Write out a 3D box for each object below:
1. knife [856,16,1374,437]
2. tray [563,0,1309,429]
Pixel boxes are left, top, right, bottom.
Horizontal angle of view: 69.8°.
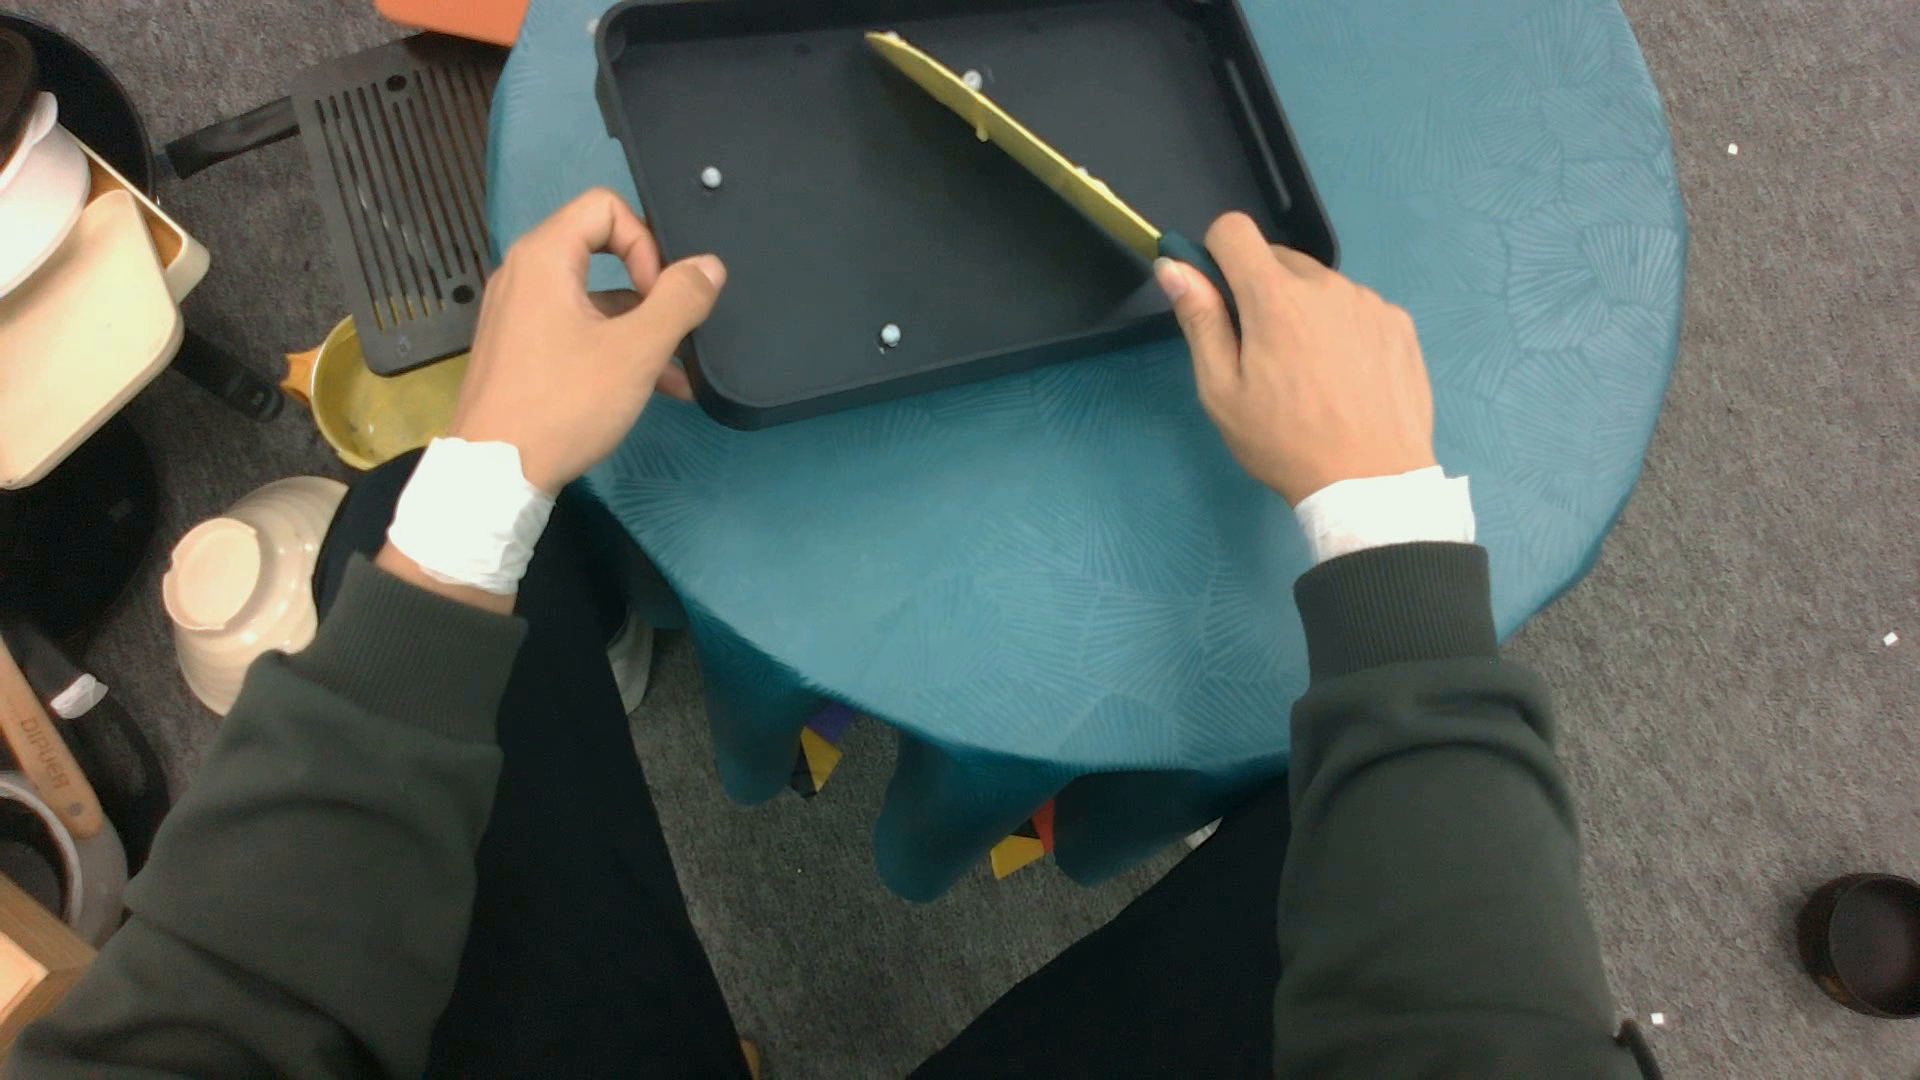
[{"bbox_3d":[0.067,-0.142,0.615,0.289,0.081,0.027,38,98,-2],"label":"knife"},{"bbox_3d":[-0.001,-0.169,0.621,0.319,0.037,0.184,-17,81,-25],"label":"tray"}]
